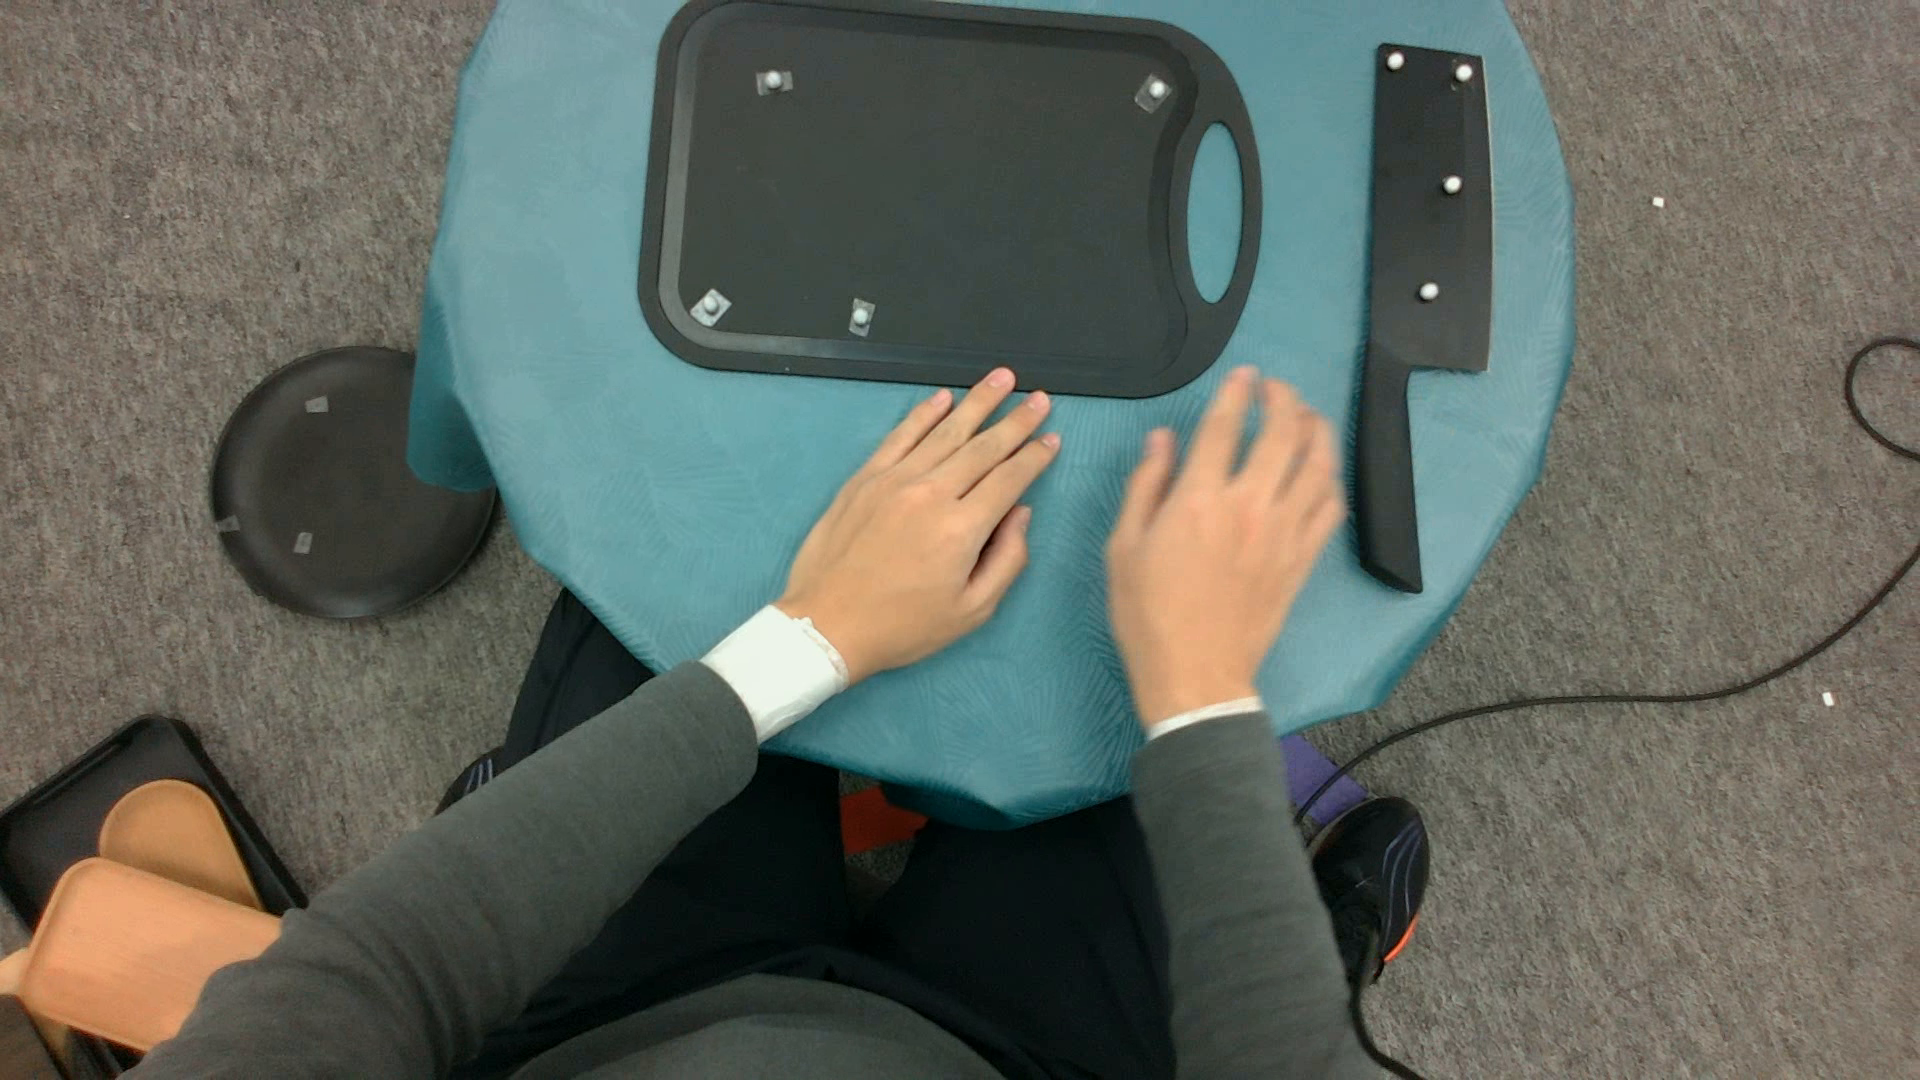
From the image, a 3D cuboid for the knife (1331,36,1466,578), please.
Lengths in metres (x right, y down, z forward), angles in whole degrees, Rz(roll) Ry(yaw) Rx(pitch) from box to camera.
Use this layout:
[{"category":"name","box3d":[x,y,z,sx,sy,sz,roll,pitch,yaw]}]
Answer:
[{"category":"knife","box3d":[0.232,-0.130,0.734,0.081,0.021,0.303,9,79,-5]}]

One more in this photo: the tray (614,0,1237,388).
[{"category":"tray","box3d":[-0.013,-0.190,0.726,0.325,0.010,0.211,4,81,-4]}]
